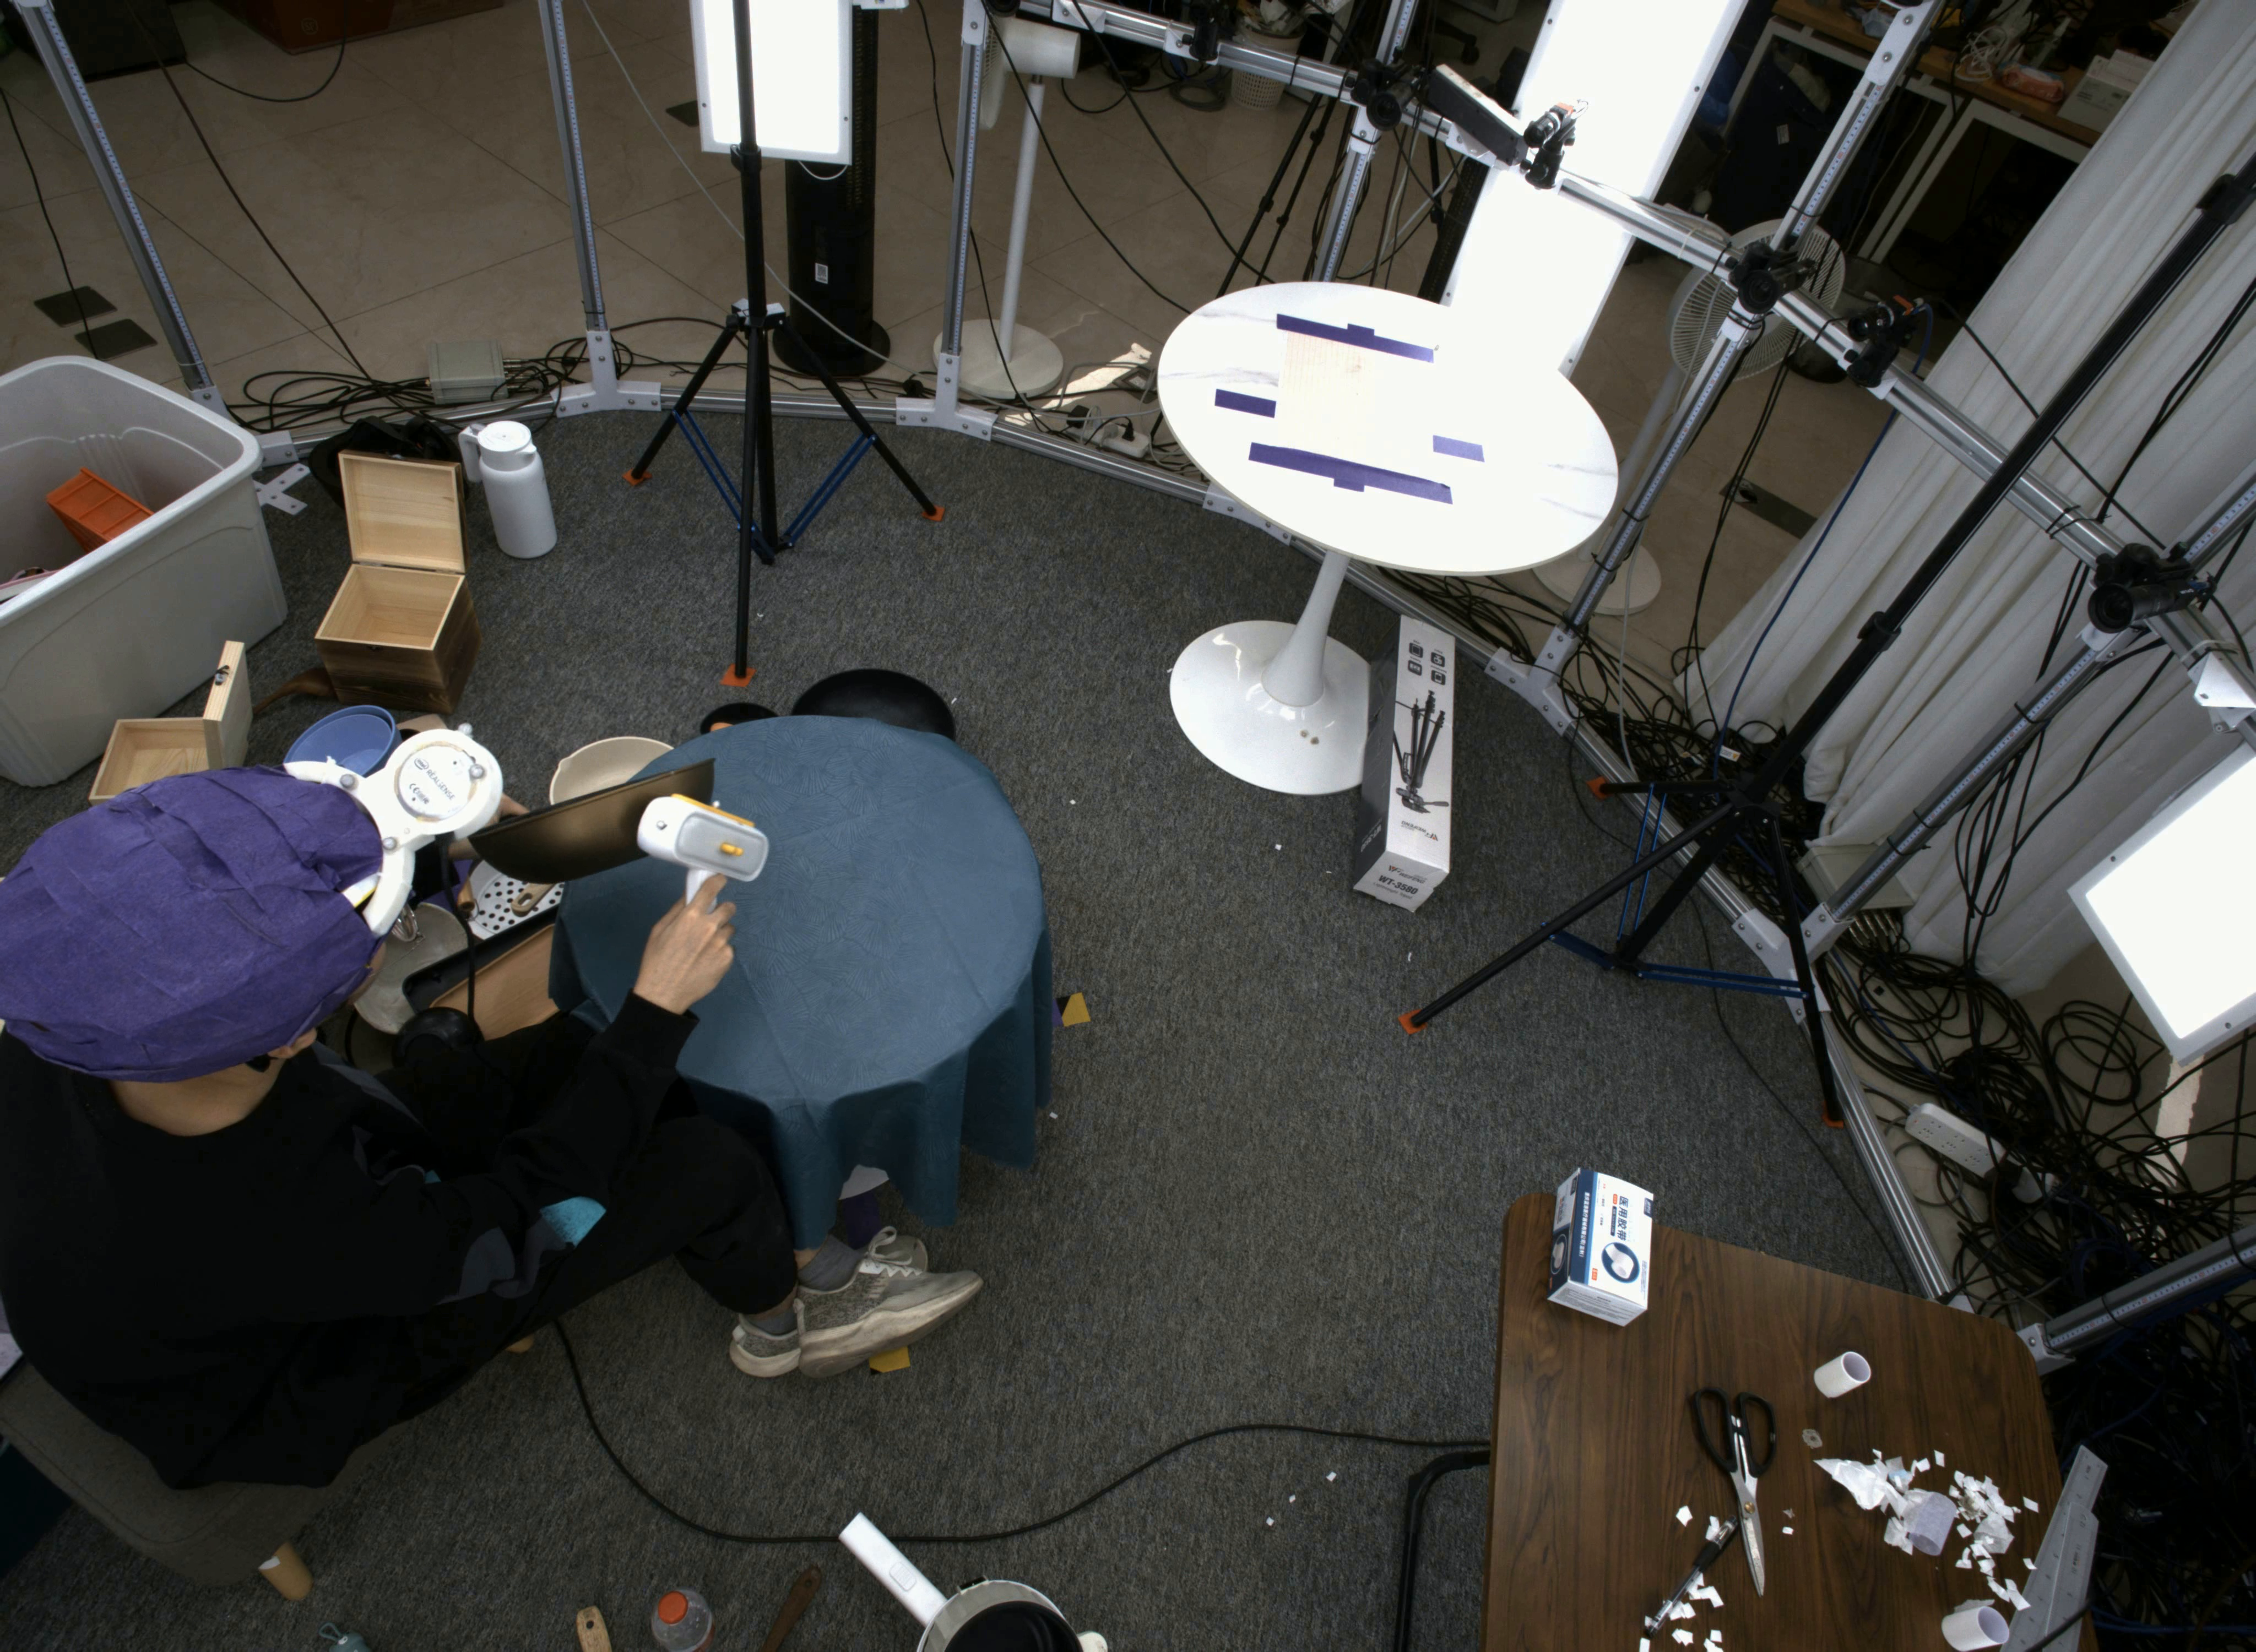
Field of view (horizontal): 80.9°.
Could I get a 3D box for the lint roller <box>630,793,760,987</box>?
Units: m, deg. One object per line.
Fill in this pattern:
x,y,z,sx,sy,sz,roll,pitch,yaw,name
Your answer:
-0.464,0.071,1.382,0.072,0.195,0.194,7,85,11,lint roller

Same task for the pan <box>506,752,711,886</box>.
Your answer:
-0.660,0.013,1.478,0.290,0.451,0.089,-29,104,-54,pan
